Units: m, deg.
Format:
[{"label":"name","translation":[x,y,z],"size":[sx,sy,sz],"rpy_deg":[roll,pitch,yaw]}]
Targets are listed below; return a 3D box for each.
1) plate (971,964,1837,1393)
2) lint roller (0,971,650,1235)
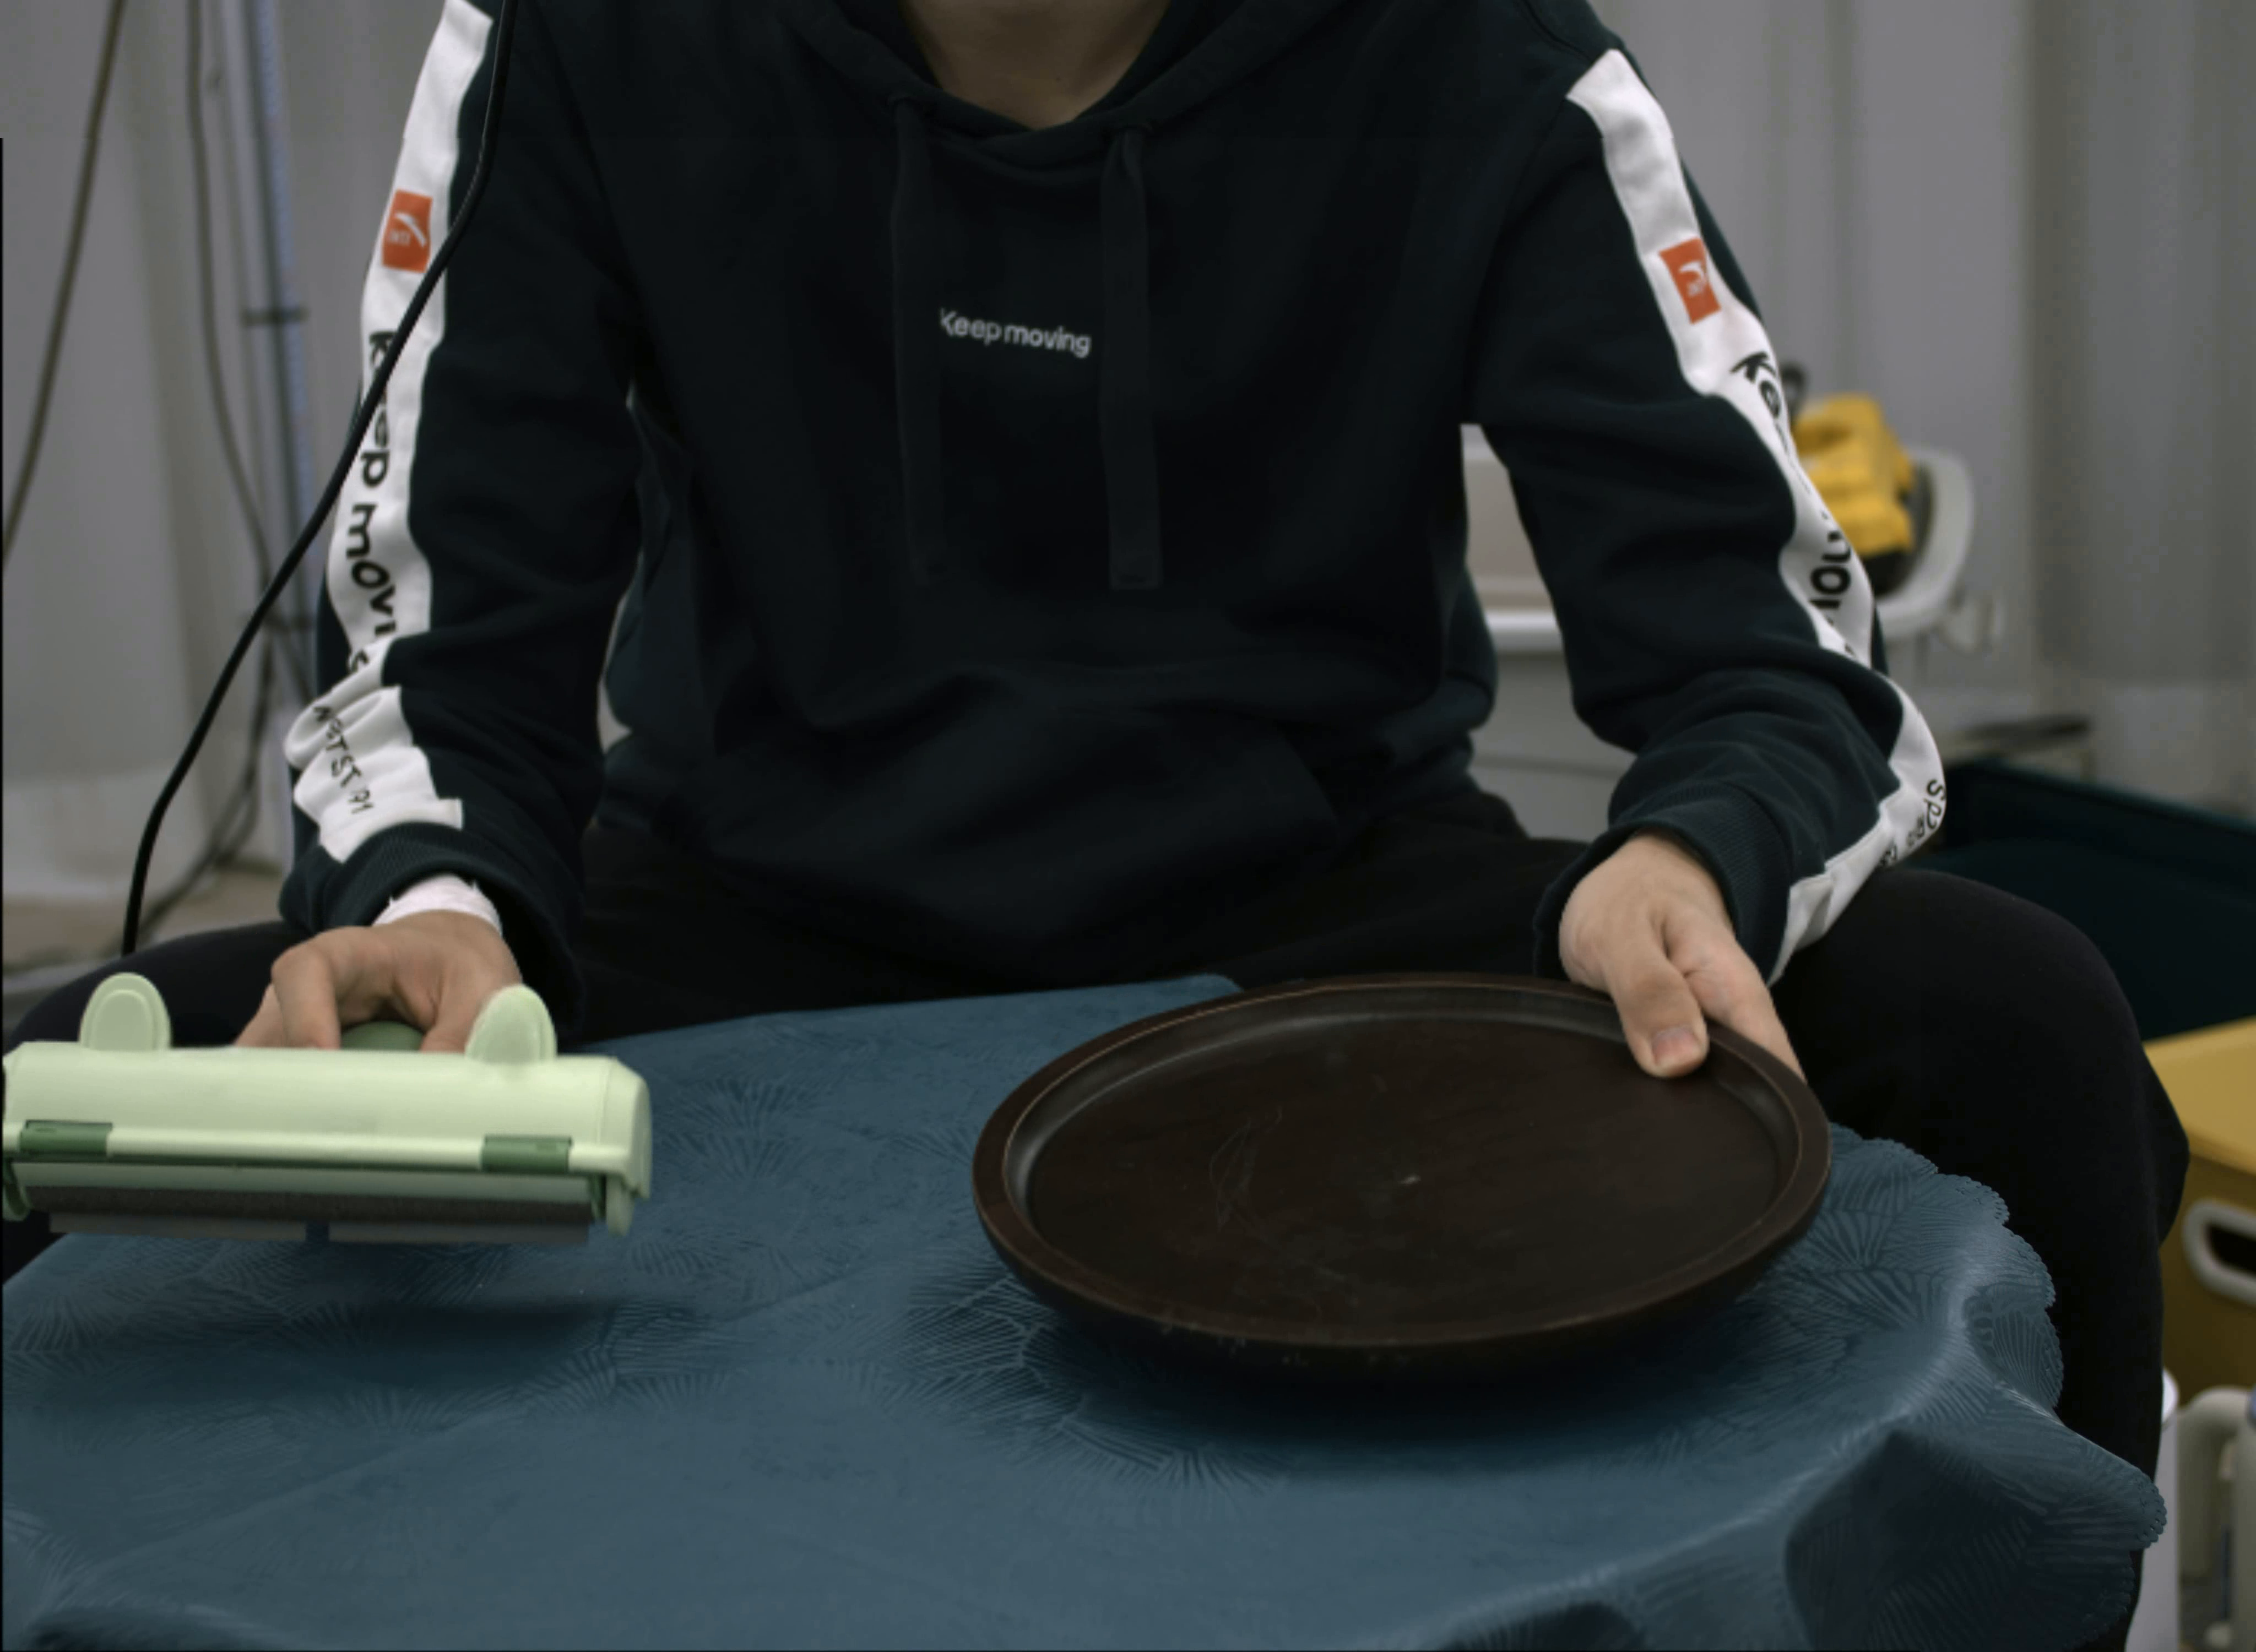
[{"label":"plate","translation":[0.080,0.101,1.598],"size":[0.254,0.029,0.257],"rpy_deg":[-4,22,1]},{"label":"lint roller","translation":[-0.239,0.068,1.676],"size":[0.198,0.082,0.185],"rpy_deg":[1,18,3]}]
